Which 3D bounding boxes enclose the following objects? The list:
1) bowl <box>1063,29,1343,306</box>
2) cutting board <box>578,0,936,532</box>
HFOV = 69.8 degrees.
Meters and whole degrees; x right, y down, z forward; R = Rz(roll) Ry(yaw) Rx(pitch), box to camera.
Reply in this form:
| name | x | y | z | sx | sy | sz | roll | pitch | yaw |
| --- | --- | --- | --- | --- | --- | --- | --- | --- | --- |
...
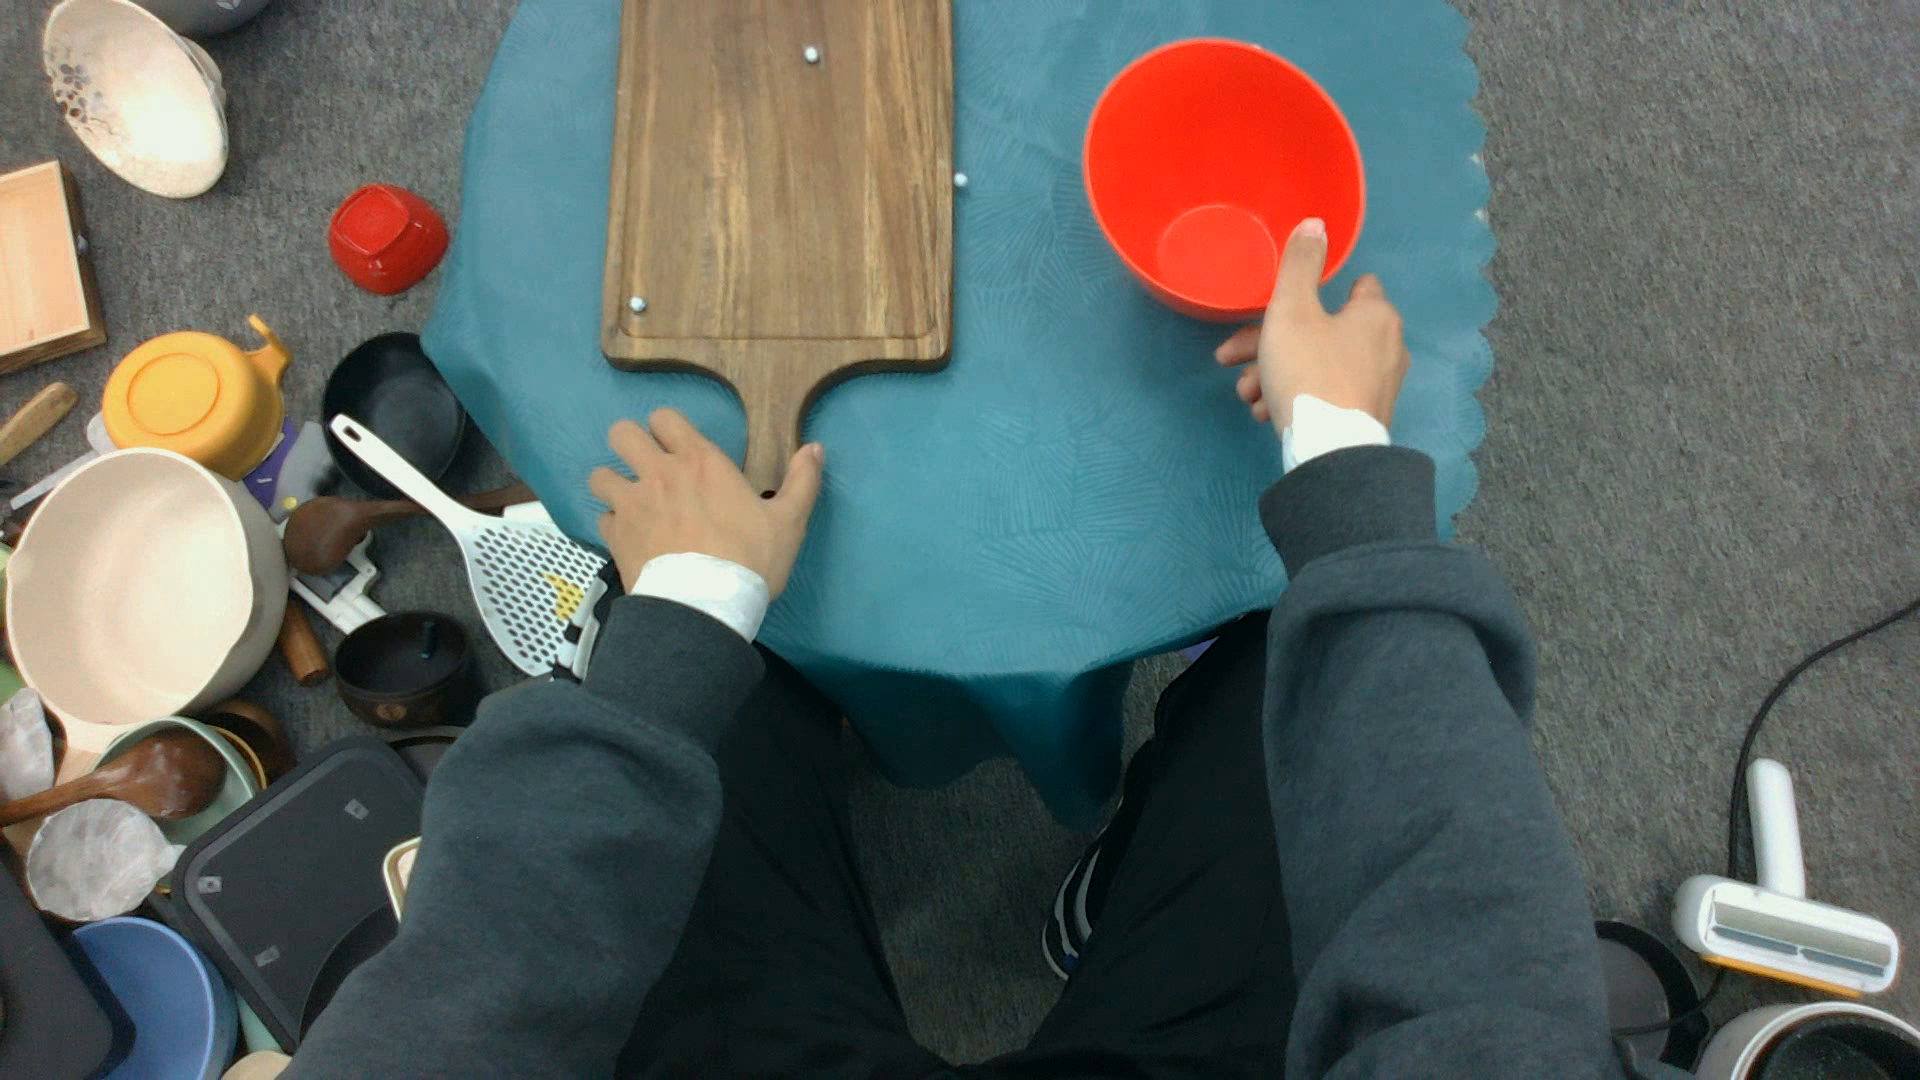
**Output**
| name | x | y | z | sx | sy | sz | roll | pitch | yaw |
| --- | --- | --- | --- | --- | --- | --- | --- | --- | --- |
| bowl | 0.126 | -0.186 | 0.747 | 0.148 | 0.104 | 0.148 | 0 | 74 | 0 |
| cutting board | -0.115 | -0.176 | 0.785 | 0.201 | 0.023 | 0.353 | -1 | 75 | 0 |
